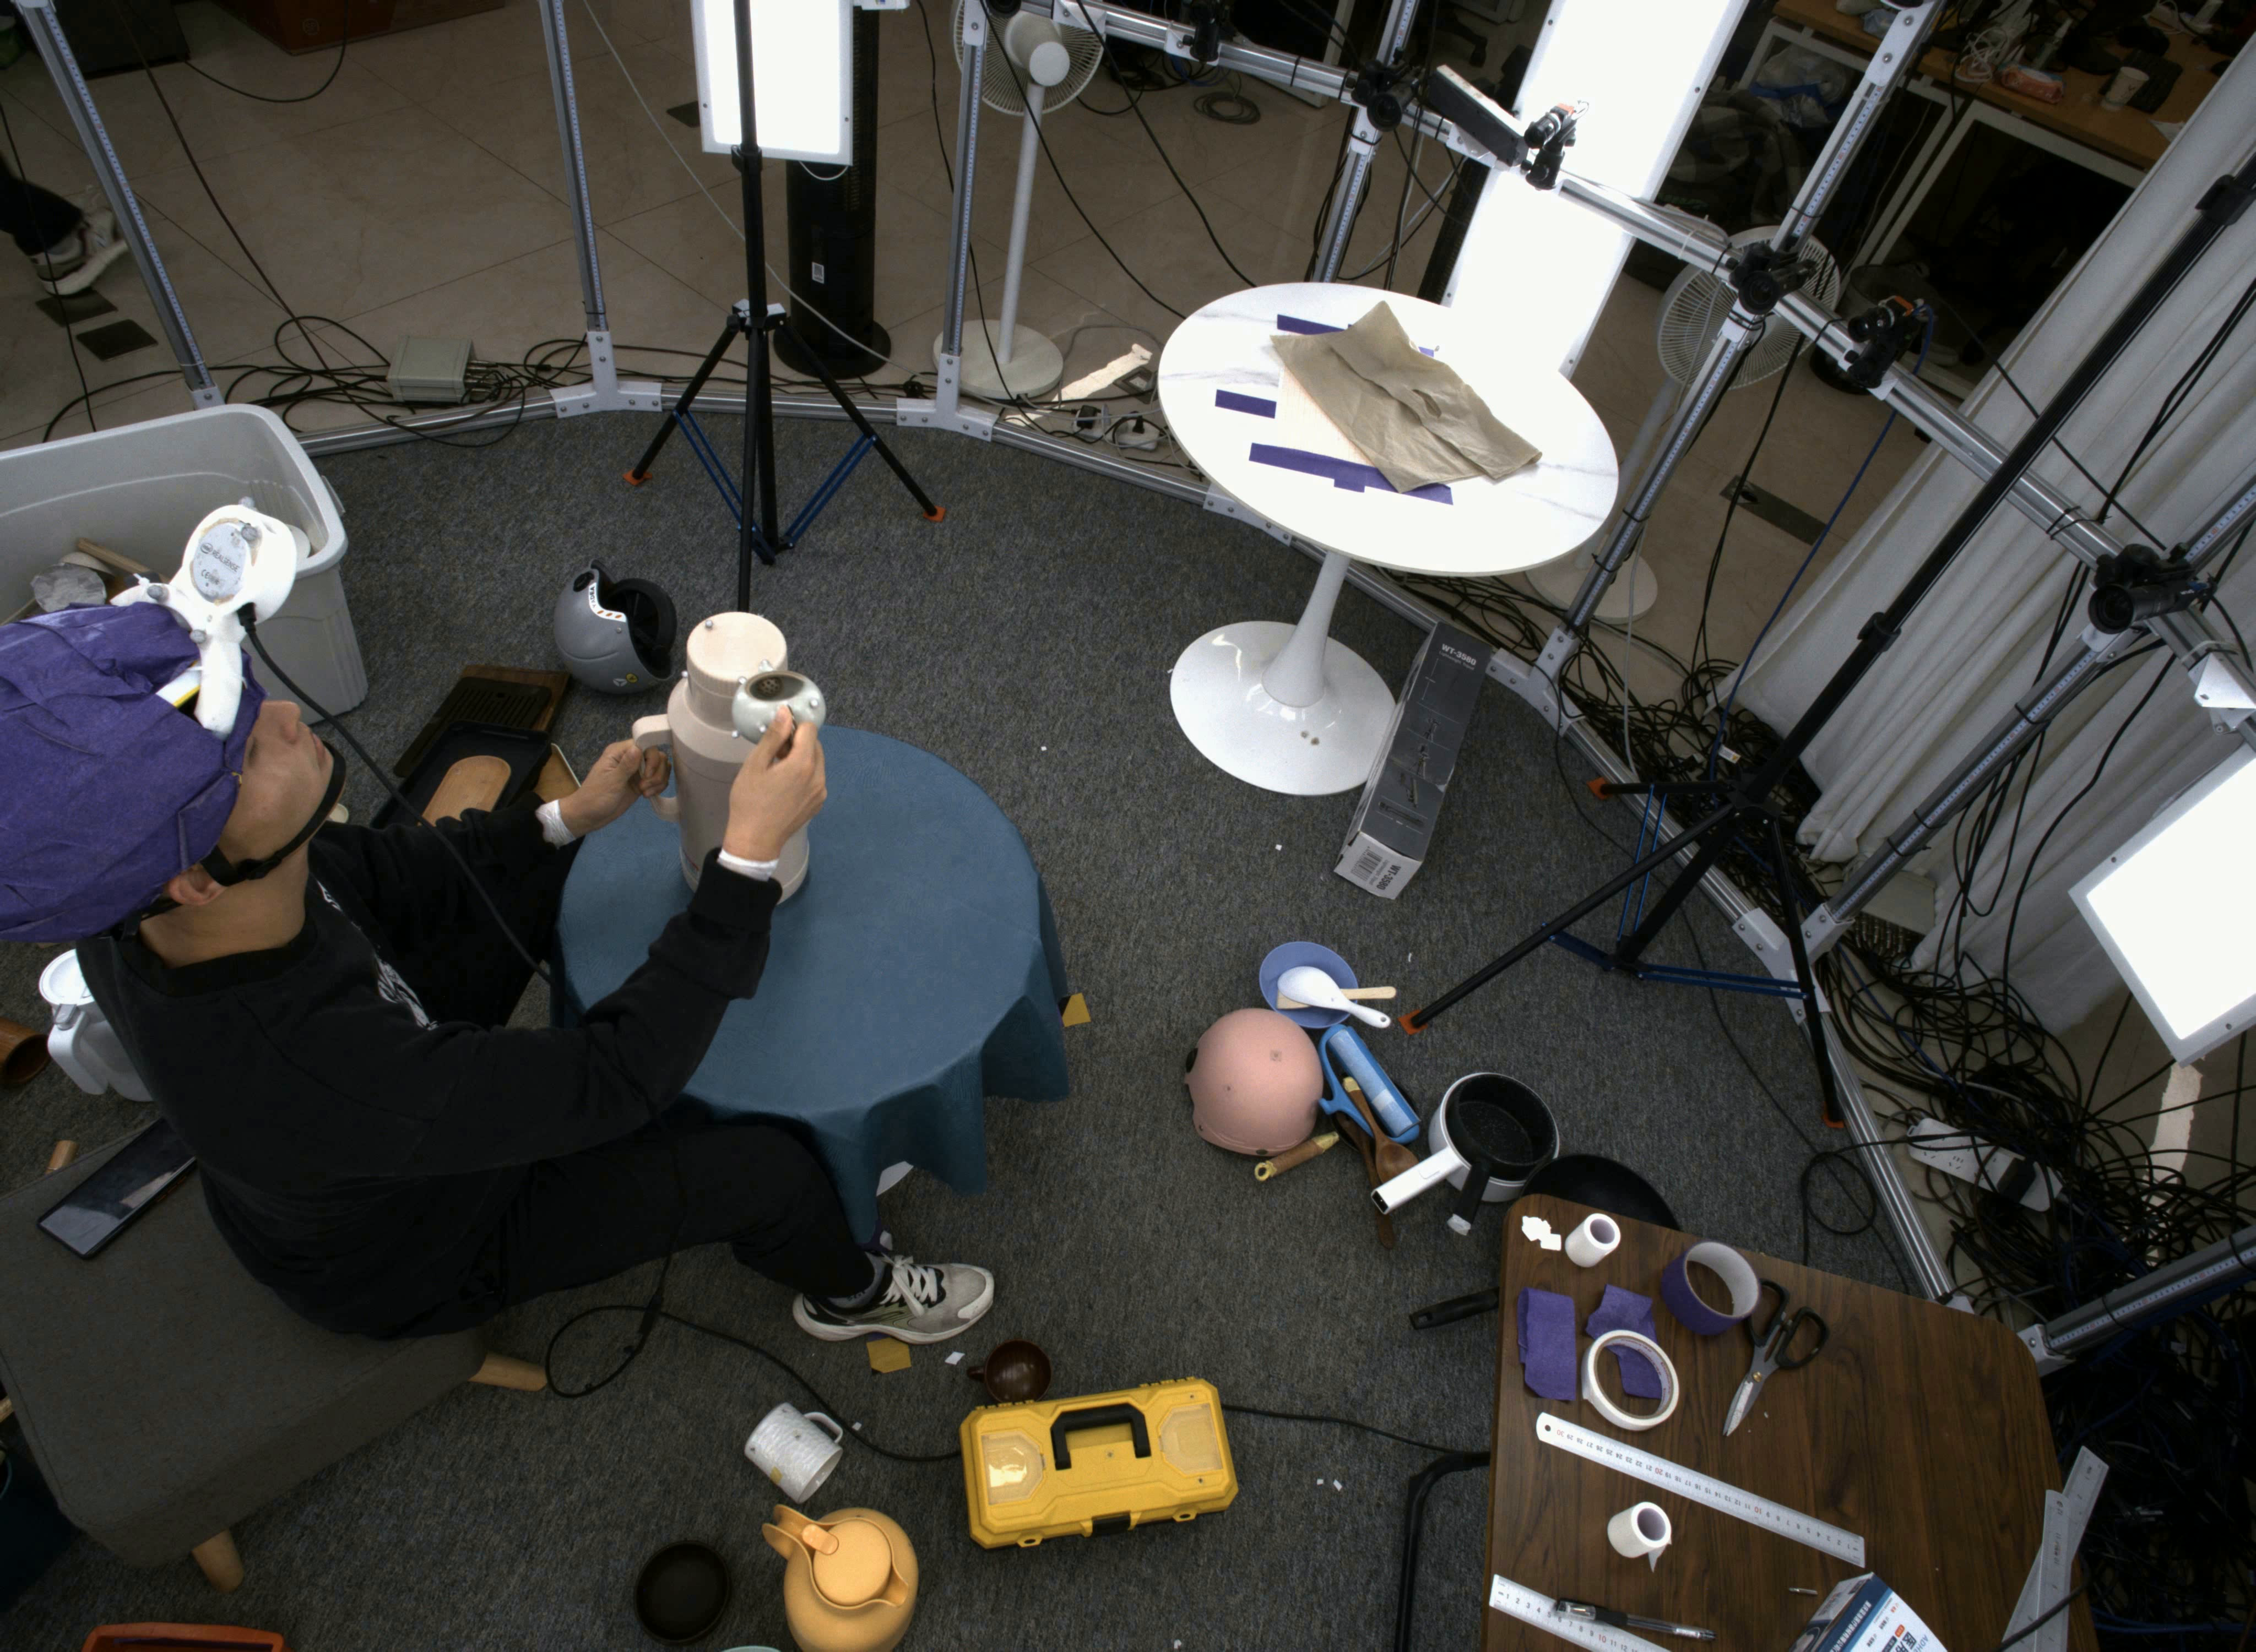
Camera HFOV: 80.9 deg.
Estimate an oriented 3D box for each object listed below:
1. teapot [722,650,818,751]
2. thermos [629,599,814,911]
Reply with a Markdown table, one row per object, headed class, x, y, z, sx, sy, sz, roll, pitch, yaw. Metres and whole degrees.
| class | x | y | z | sx | sy | sz | roll | pitch | yaw |
| --- | --- | --- | --- | --- | --- | --- | --- | --- | --- |
| teapot | -0.346 | -0.119 | 1.259 | 0.092 | 0.061 | 0.123 | -11 | 40 | -26 |
| thermos | -0.472 | -0.077 | 1.507 | 0.208 | 0.414 | 0.171 | -11 | 57 | -22 |
